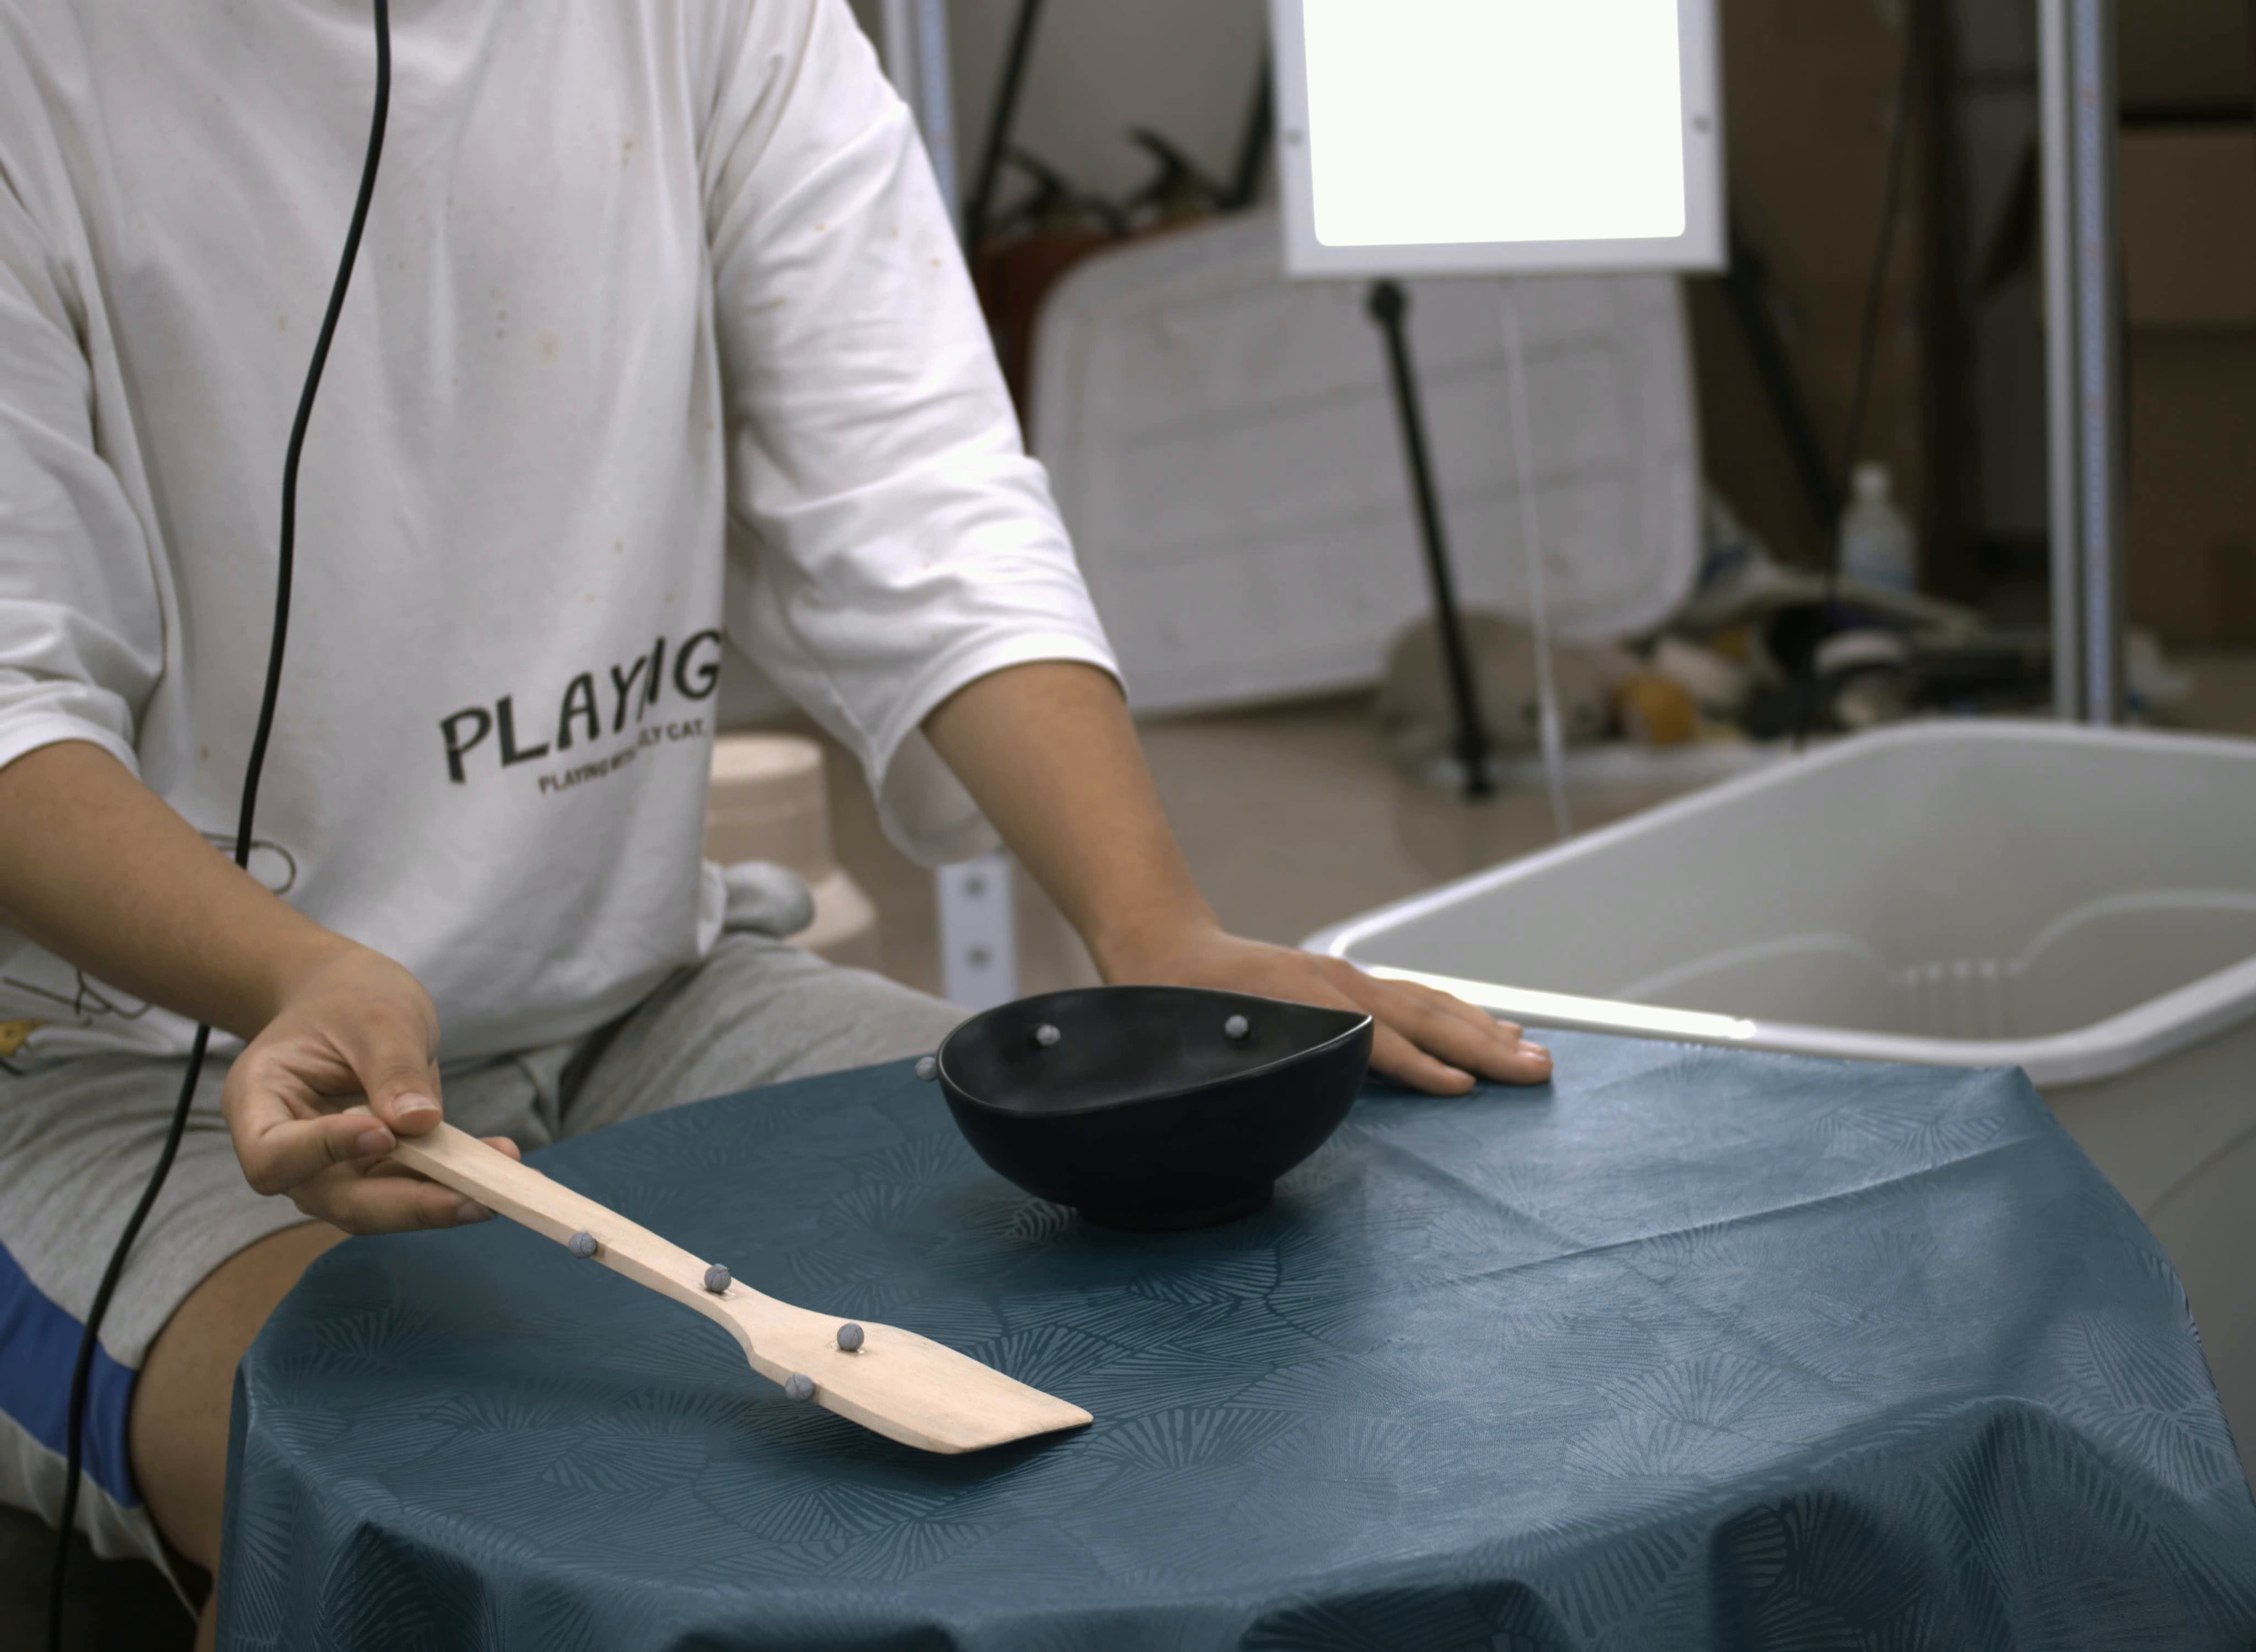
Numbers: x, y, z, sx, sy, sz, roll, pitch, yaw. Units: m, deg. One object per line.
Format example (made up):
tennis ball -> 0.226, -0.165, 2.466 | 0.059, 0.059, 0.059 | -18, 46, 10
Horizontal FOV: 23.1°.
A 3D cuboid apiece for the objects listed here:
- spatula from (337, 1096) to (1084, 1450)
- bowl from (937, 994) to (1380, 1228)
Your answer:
spatula -> -0.144, 0.138, 1.736 | 0.298, 0.011, 0.070 | 22, 17, 36
bowl -> 0.013, 0.098, 1.877 | 0.140, 0.067, 0.166 | 6, 15, 40
